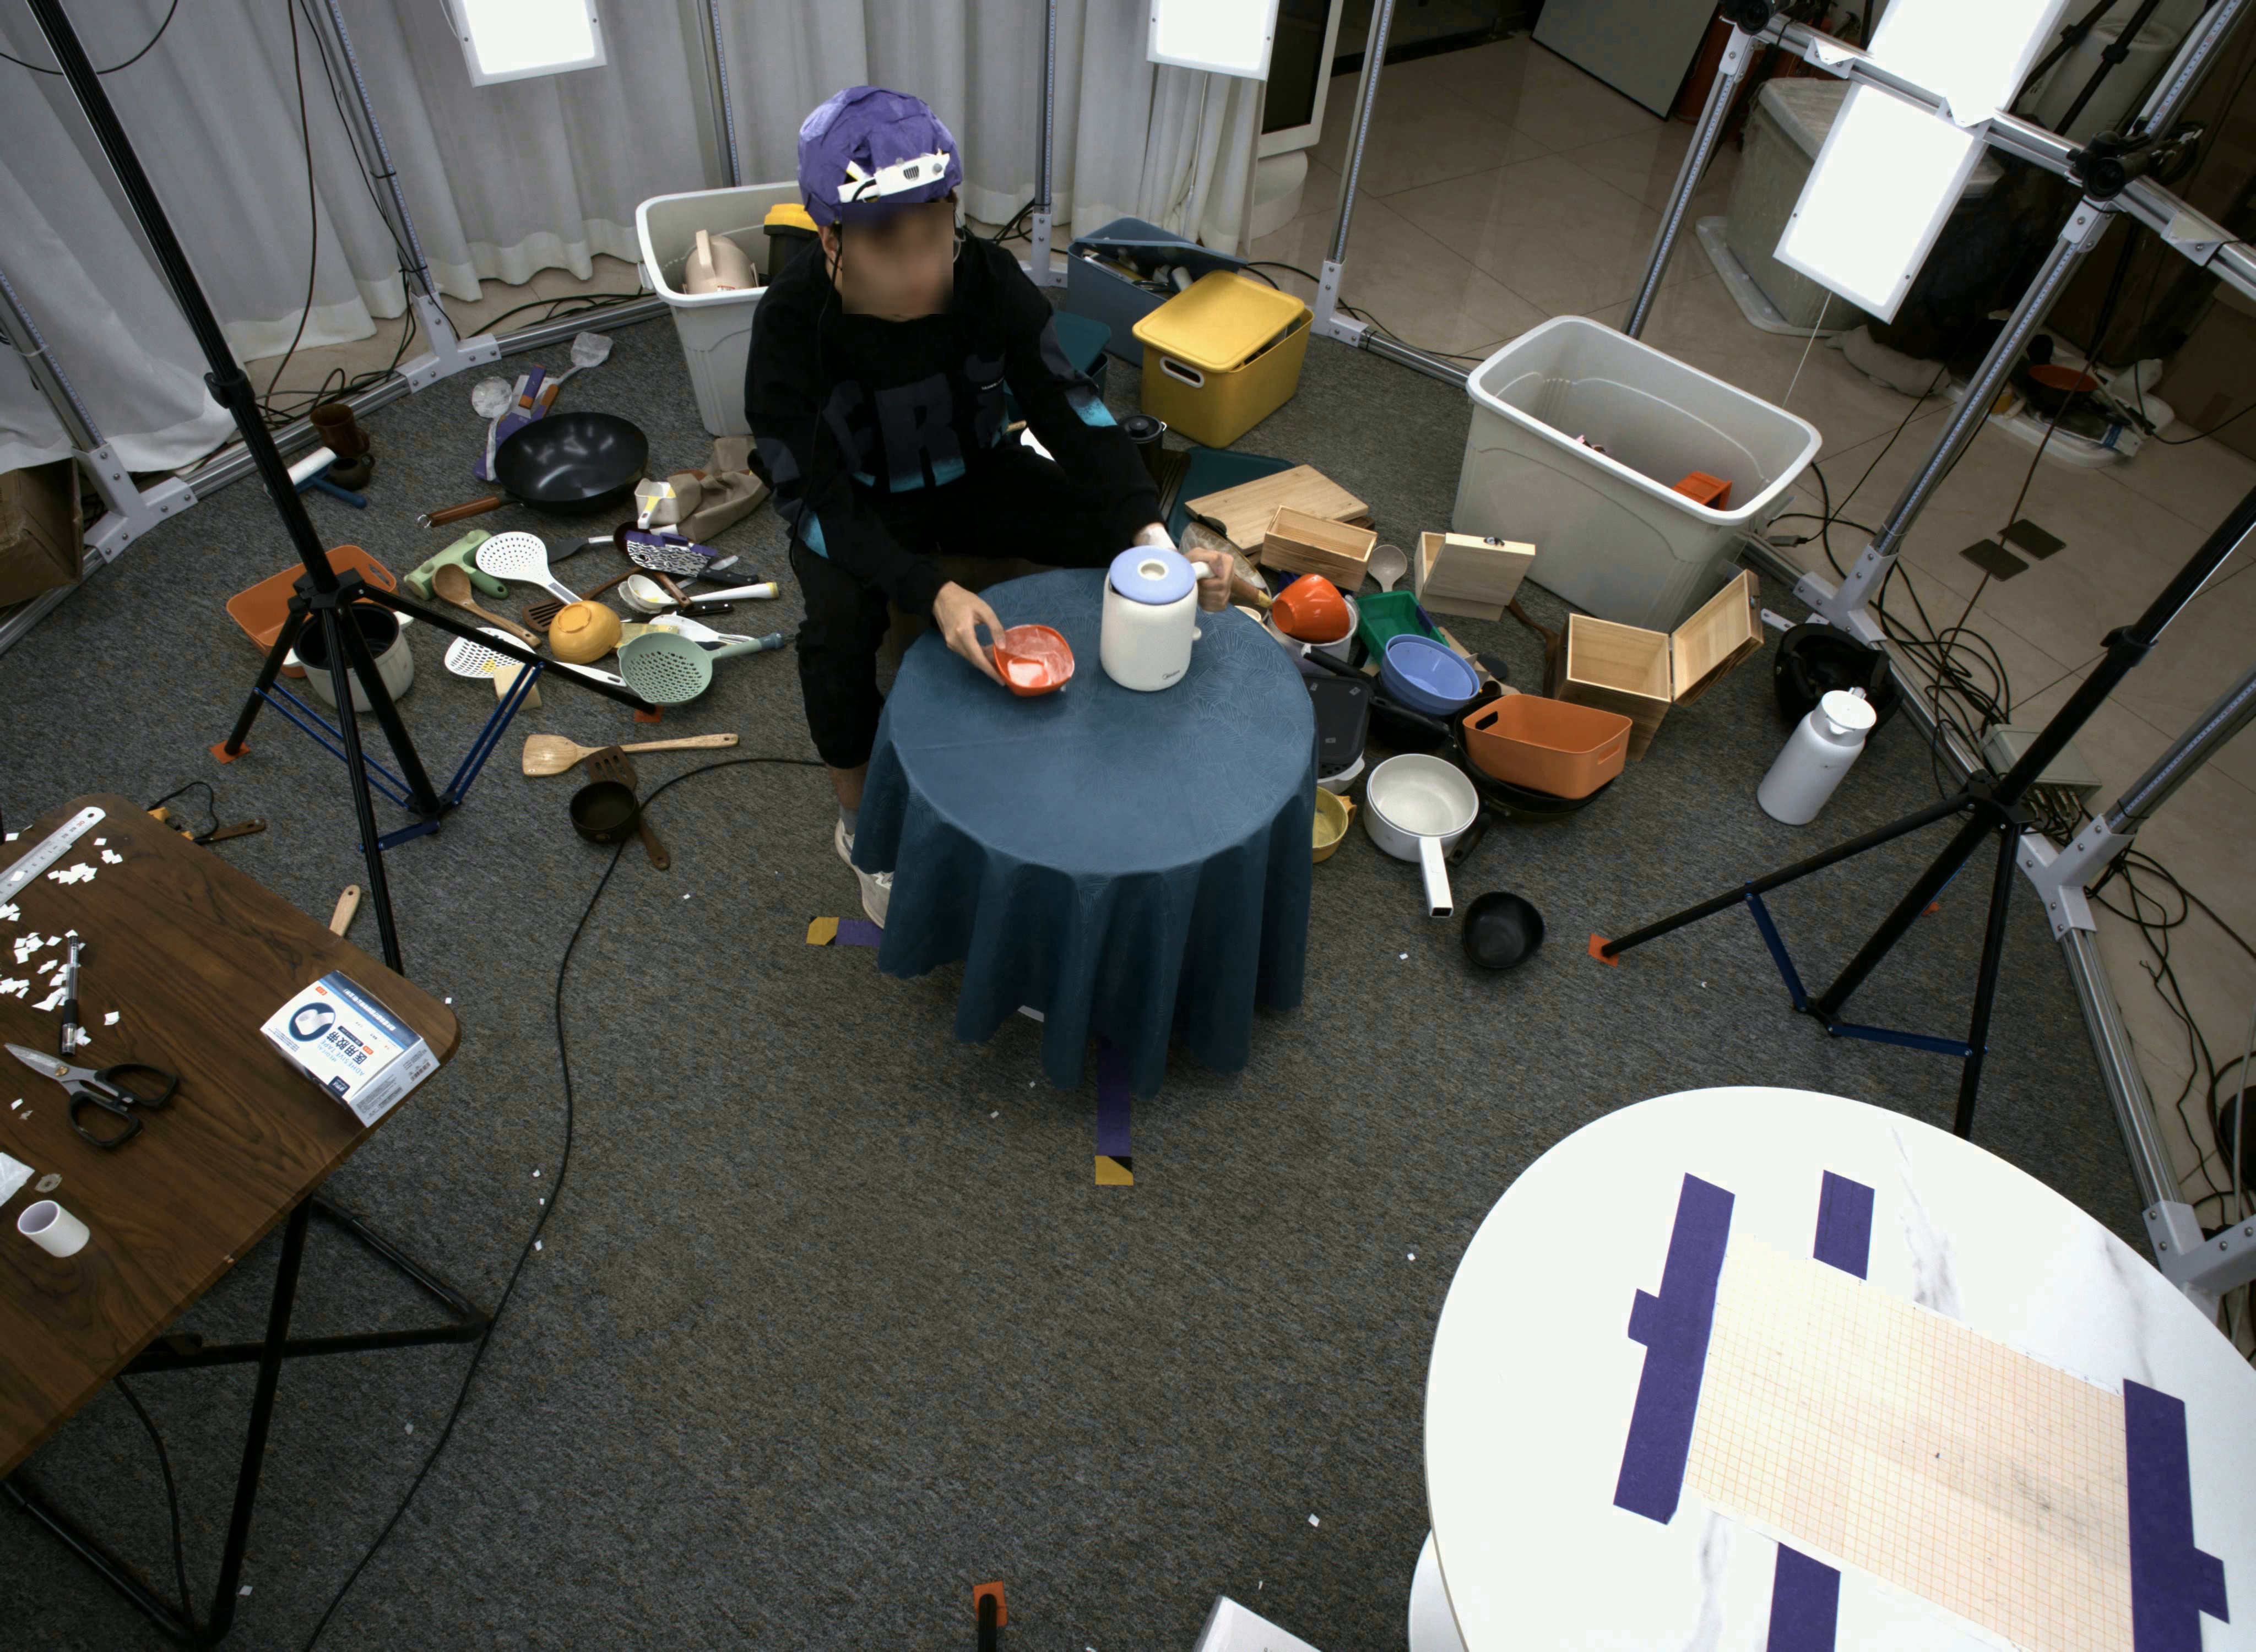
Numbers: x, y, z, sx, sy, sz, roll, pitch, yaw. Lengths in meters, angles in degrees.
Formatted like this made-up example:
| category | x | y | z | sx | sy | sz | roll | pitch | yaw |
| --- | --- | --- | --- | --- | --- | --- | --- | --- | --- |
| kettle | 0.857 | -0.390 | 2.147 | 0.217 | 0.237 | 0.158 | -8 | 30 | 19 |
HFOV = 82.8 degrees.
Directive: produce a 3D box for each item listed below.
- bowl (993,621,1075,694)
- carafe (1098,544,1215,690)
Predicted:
| category | x | y | z | sx | sy | sz | roll | pitch | yaw |
| --- | --- | --- | --- | --- | --- | --- | --- | --- | --- |
| bowl | -0.135 | -0.230 | 1.811 | 0.118 | 0.050 | 0.121 | 5 | 60 | -9 |
| carafe | 0.047 | -0.304 | 1.823 | 0.192 | 0.178 | 0.135 | -26 | 58 | -26 |
